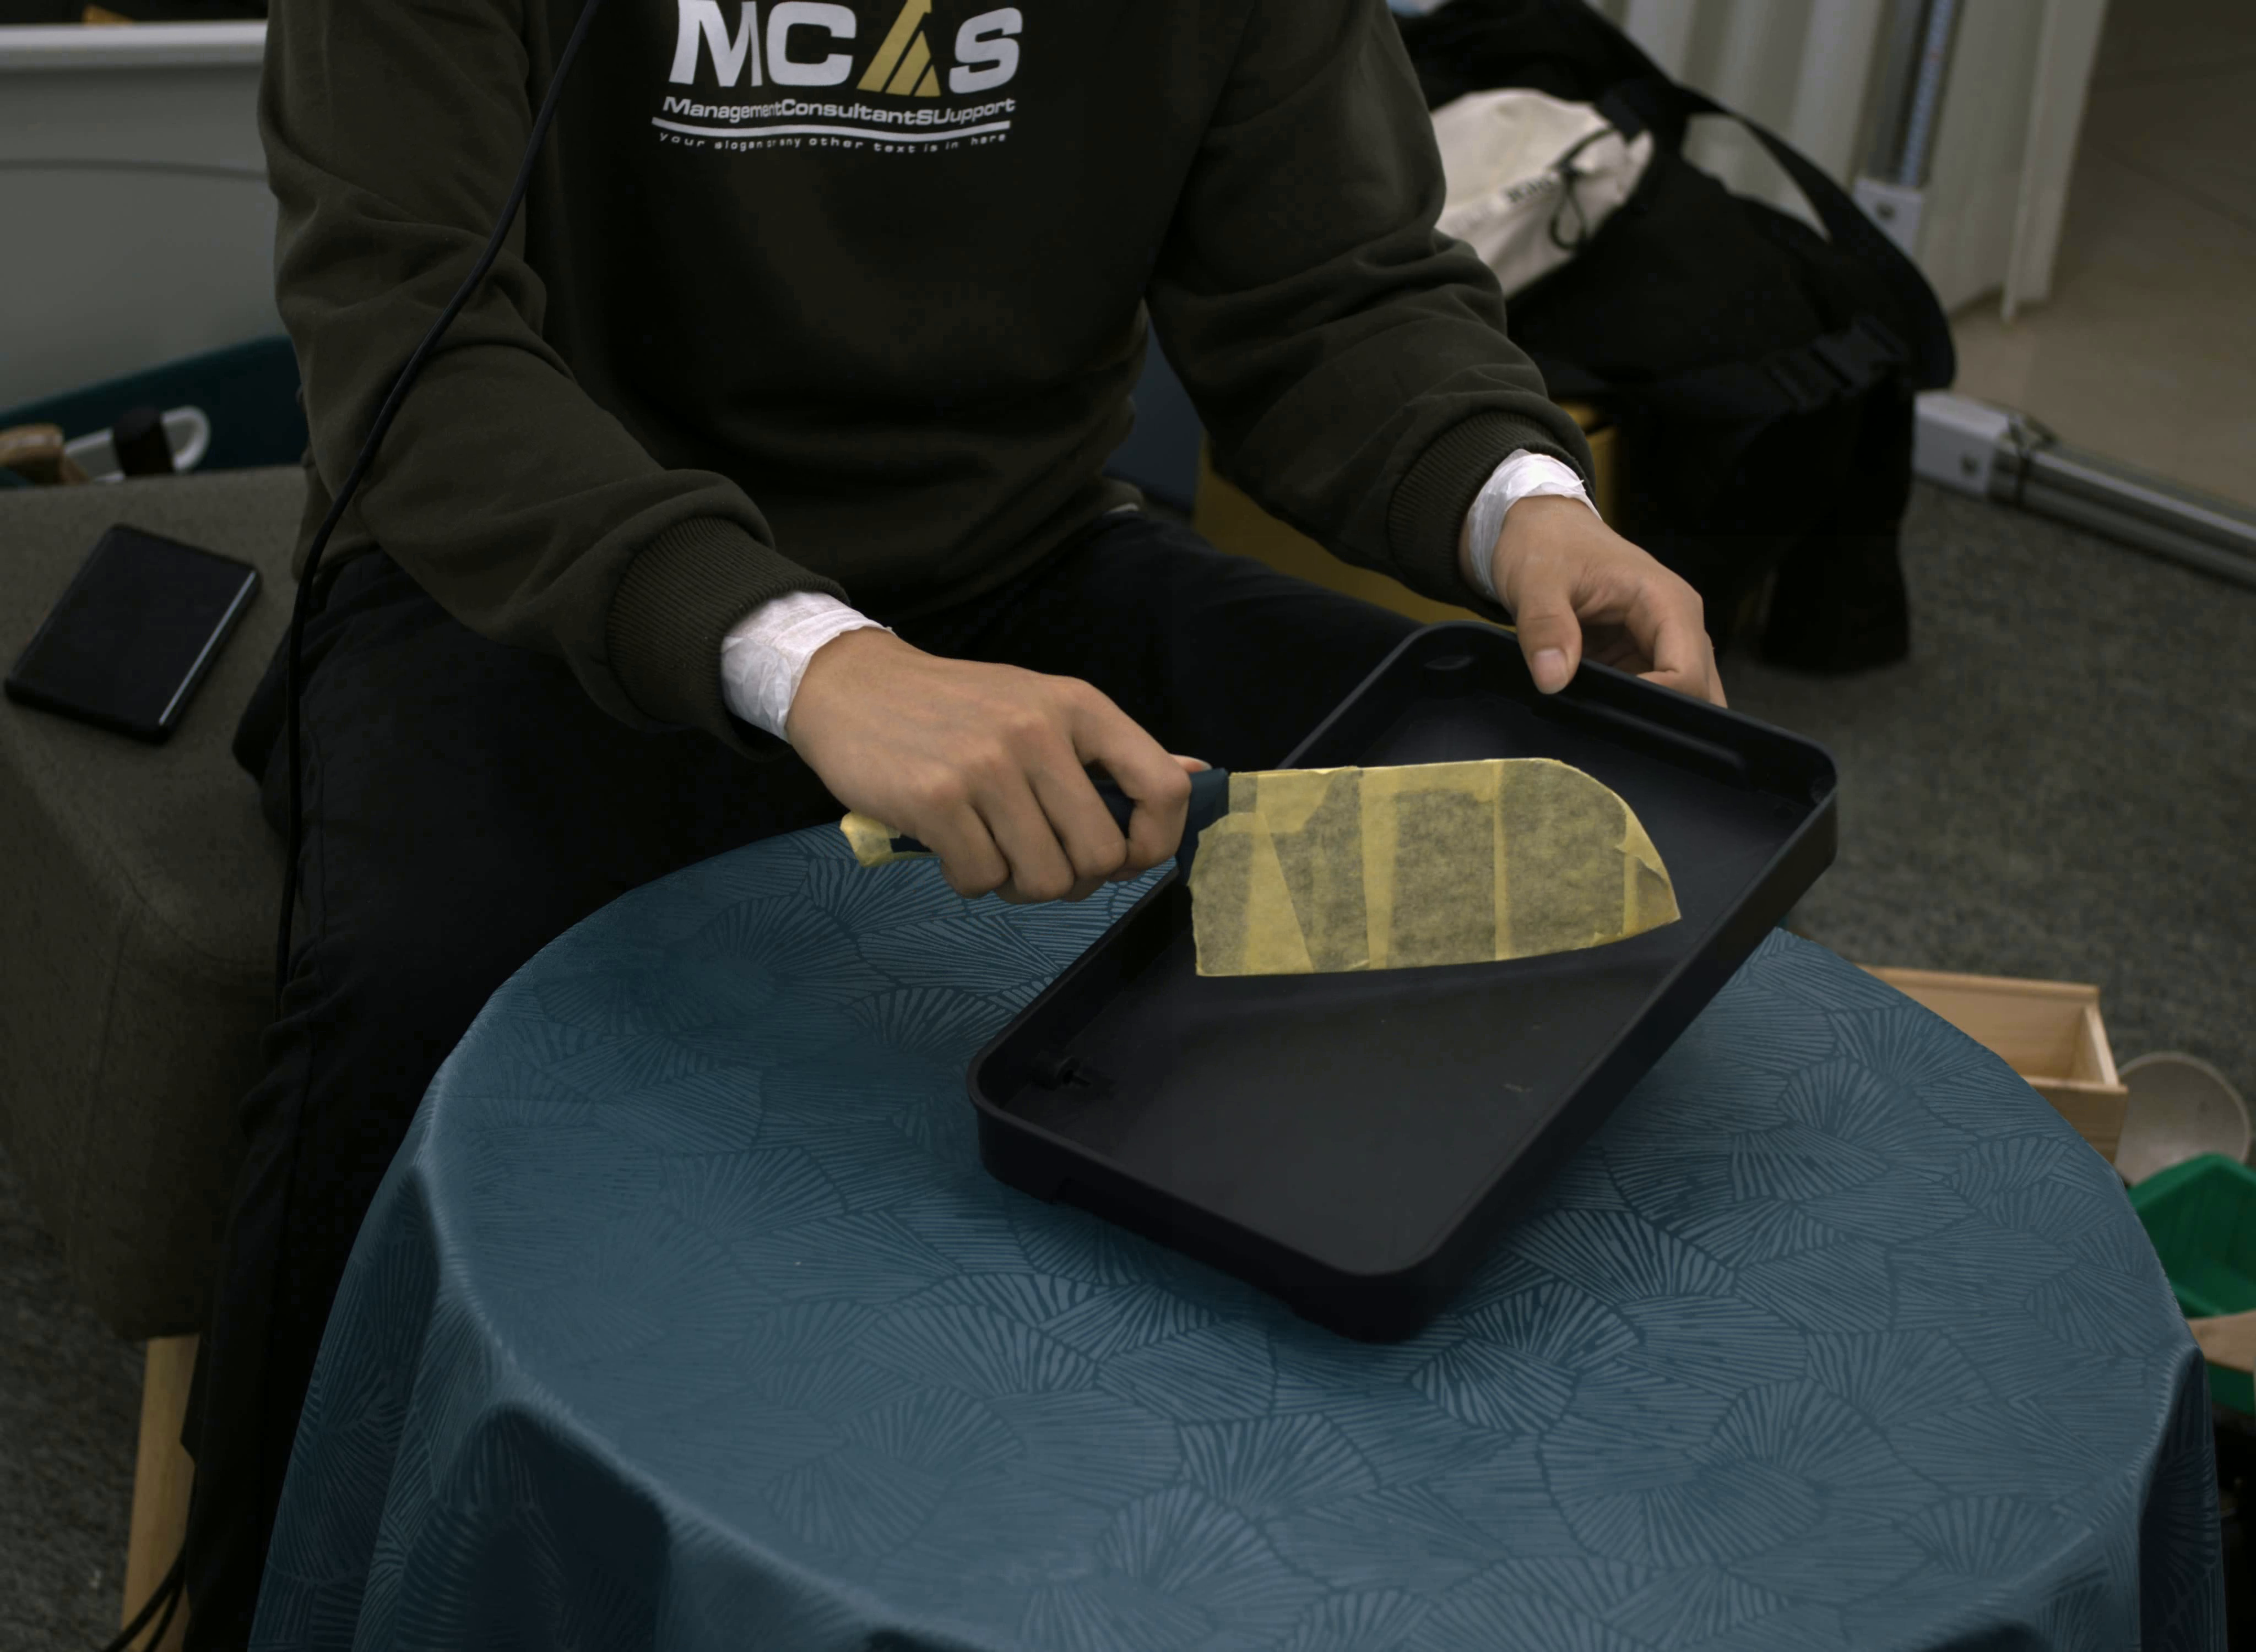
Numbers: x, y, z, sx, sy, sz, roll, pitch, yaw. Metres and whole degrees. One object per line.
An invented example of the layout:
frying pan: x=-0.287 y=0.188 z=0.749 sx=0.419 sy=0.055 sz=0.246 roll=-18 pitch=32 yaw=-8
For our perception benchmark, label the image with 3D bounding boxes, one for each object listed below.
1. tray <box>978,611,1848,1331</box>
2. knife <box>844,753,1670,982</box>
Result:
tray: x=0.104 y=0.043 z=1.858 sx=0.185 sy=0.037 sz=0.318 roll=19 pitch=45 yaw=28
knife: x=0.046 y=0.015 z=1.852 sx=0.288 sy=0.081 sz=0.027 roll=0 pitch=10 yaw=-1
